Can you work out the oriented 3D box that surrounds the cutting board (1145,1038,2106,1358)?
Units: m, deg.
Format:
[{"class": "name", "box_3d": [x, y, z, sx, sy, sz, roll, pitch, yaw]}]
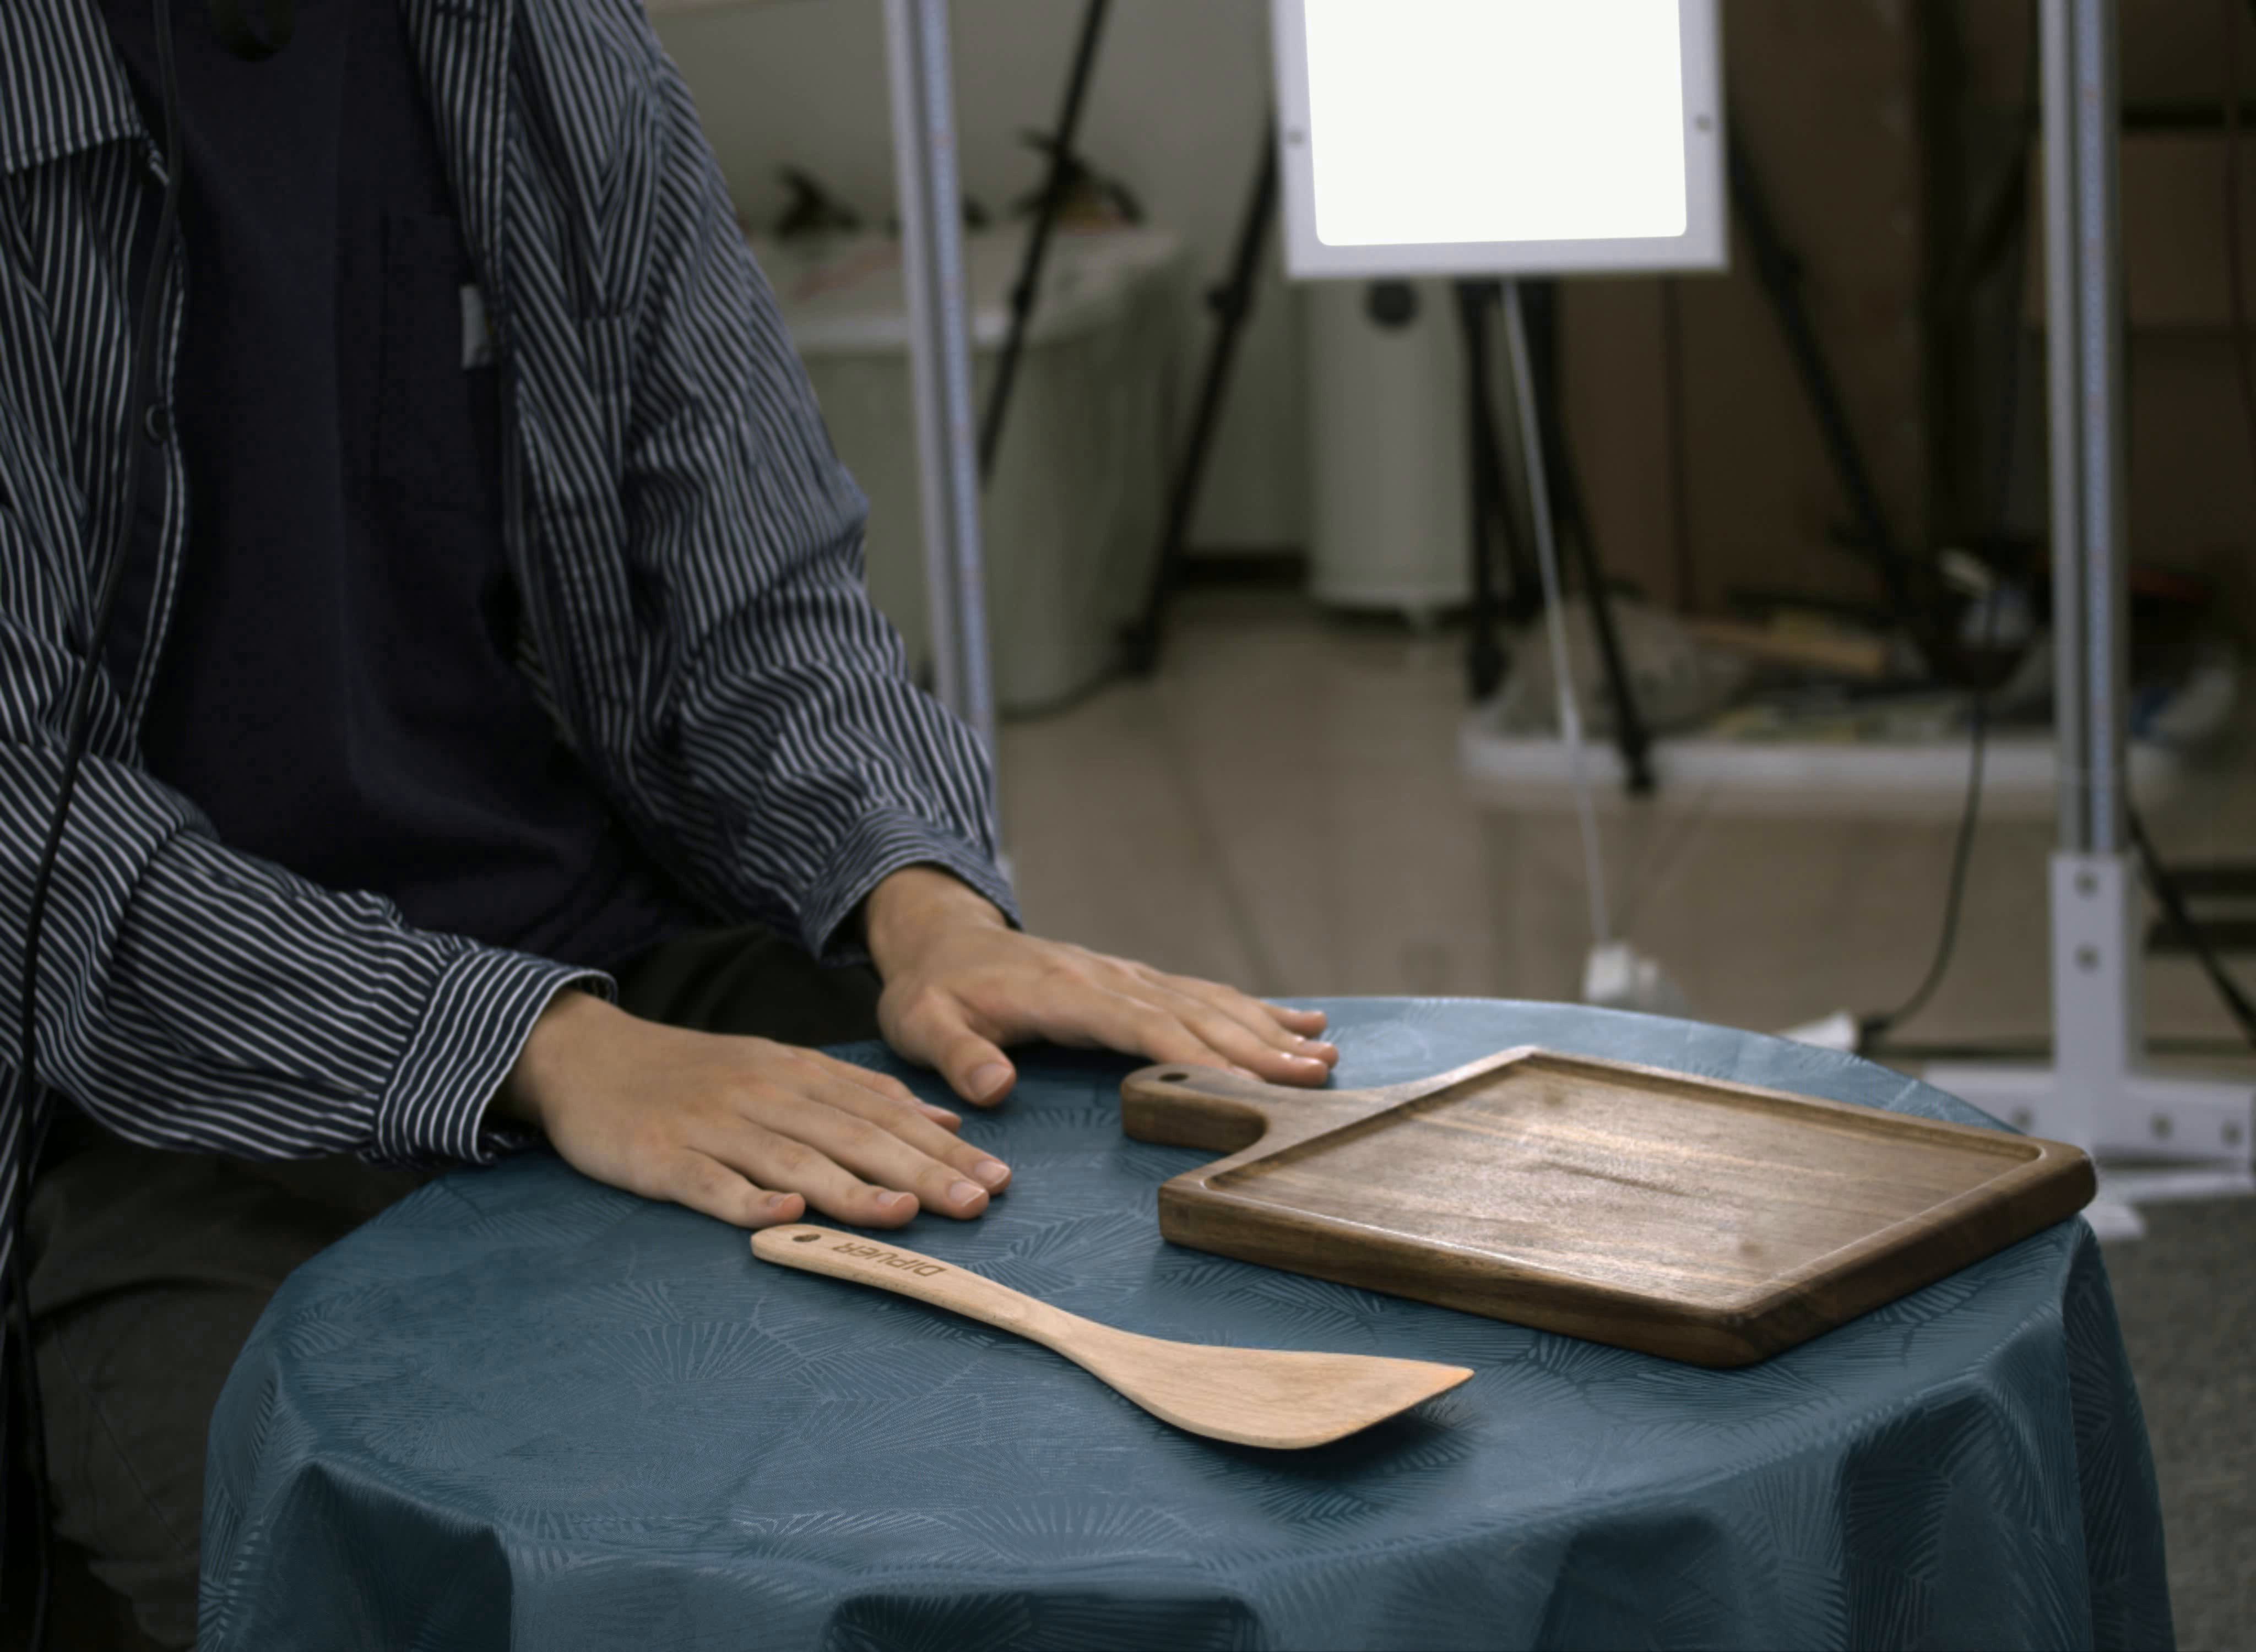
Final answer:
[{"class": "cutting board", "box_3d": [0.139, 0.113, 1.853, 0.196, 0.023, 0.360, -17, 18, -41]}]

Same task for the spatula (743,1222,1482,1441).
[{"class": "spatula", "box_3d": [-0.018, 0.155, 1.748, 0.078, 0.016, 0.334, -15, 17, -38]}]
